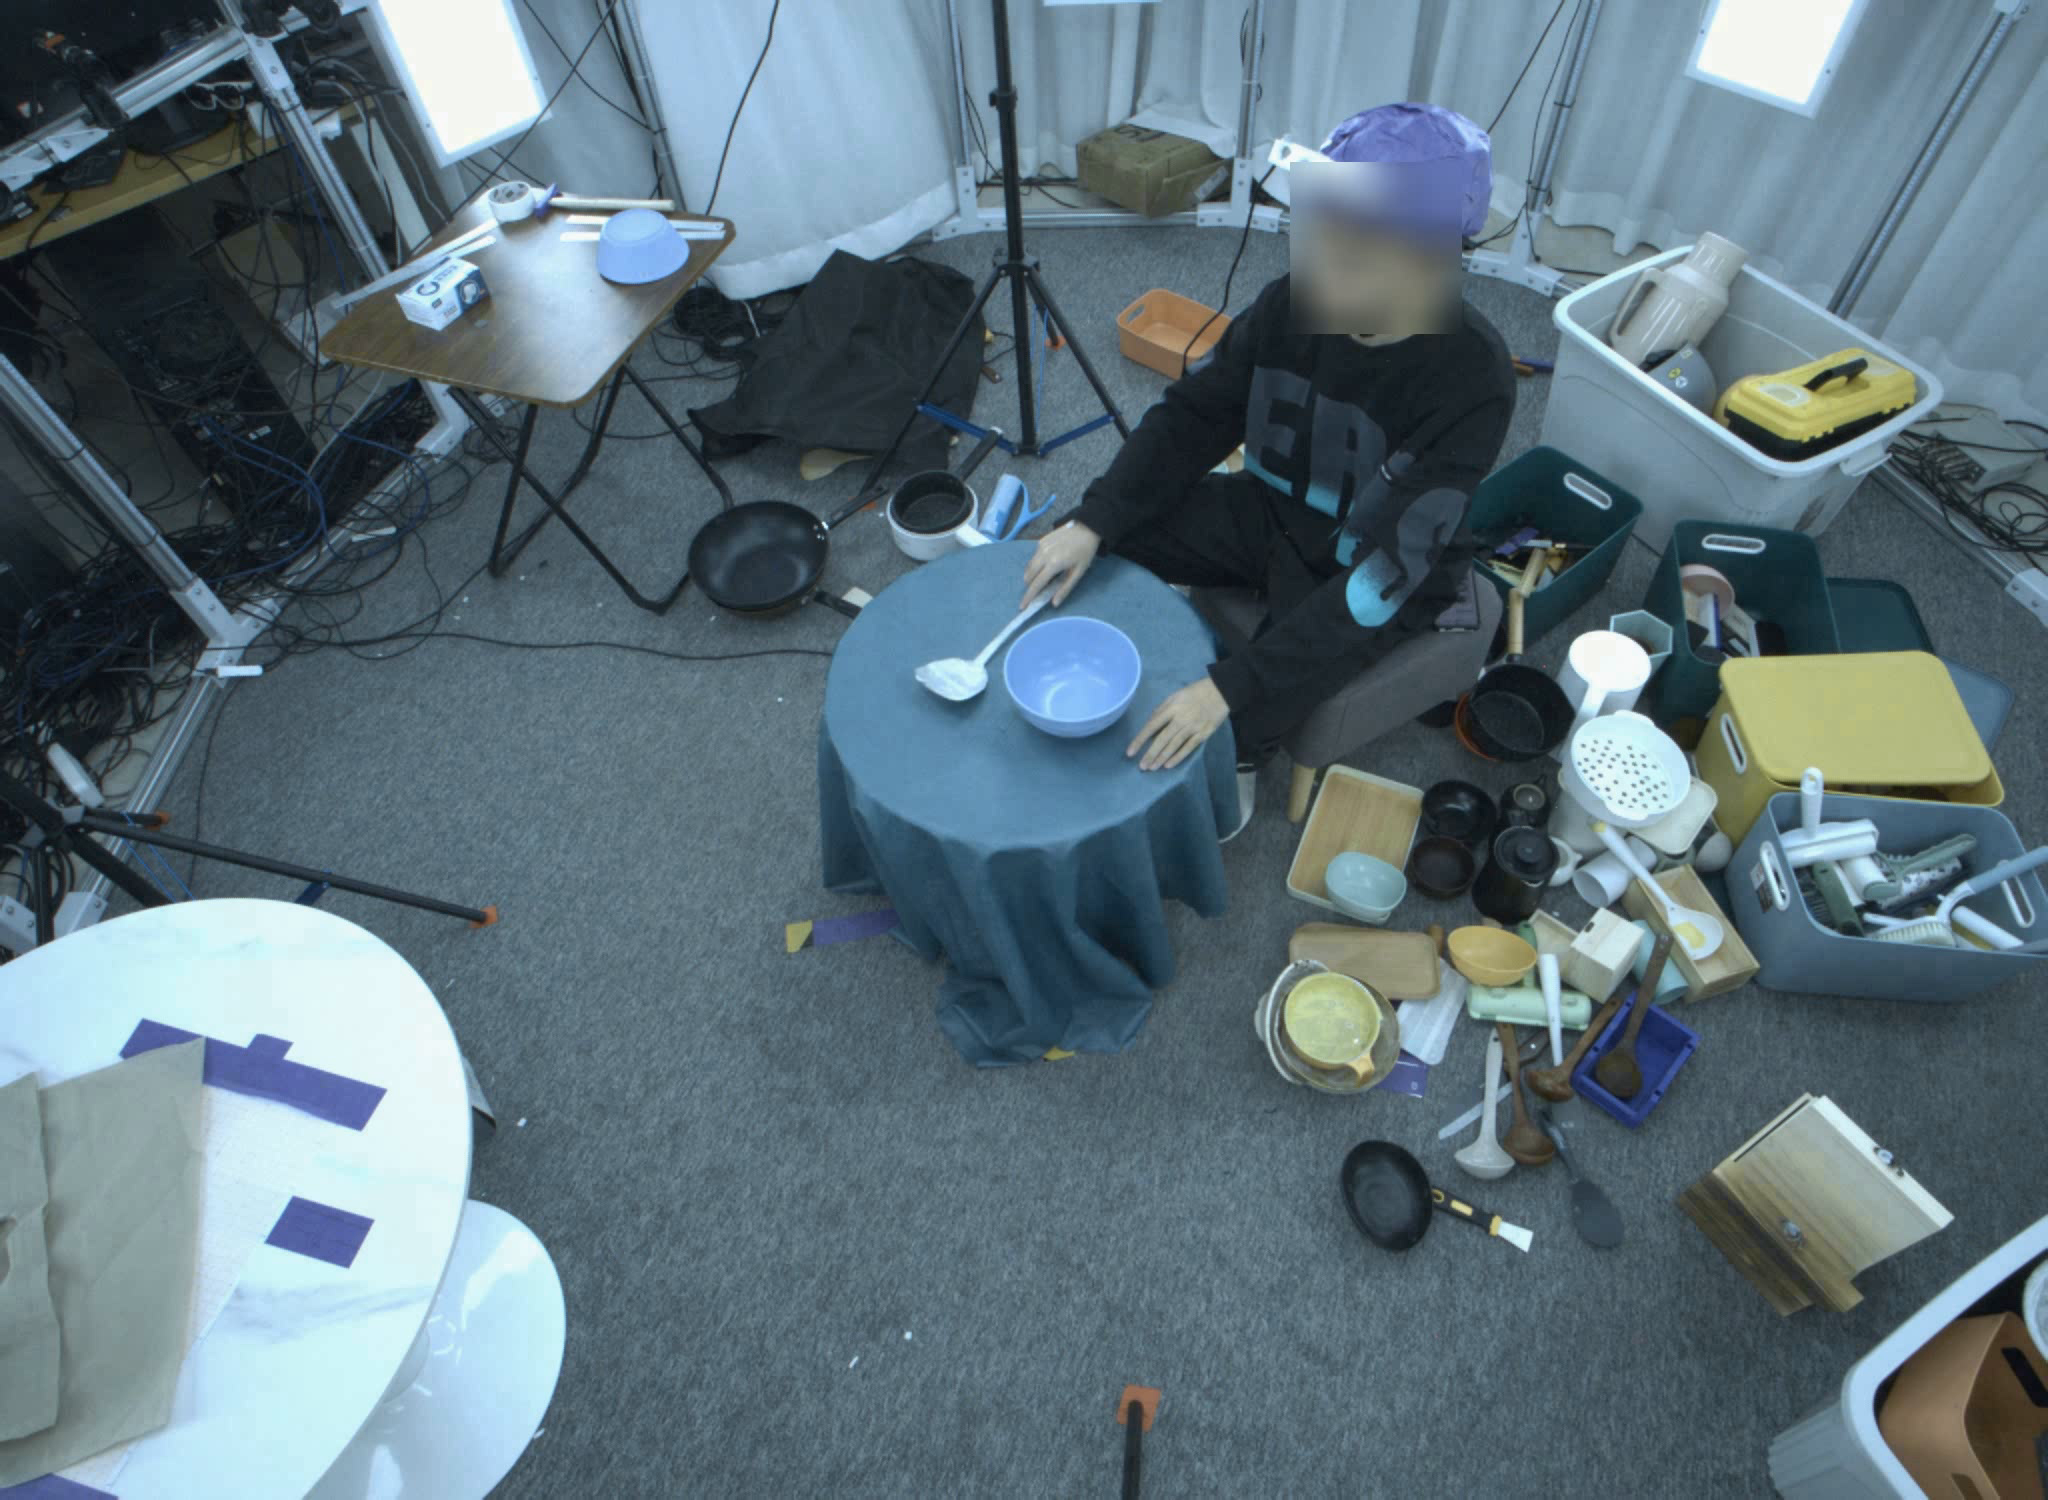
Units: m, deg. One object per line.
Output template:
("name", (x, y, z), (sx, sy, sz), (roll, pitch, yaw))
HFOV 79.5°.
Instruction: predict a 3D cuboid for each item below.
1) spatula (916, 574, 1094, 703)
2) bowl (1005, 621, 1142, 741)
("spatula", (-0.015, -0.187, 1.906), (0.097, 0.045, 0.367), (33, 62, 25))
("bowl", (0.074, -0.086, 1.798), (0.196, 0.096, 0.194), (-1, 54, 3))
